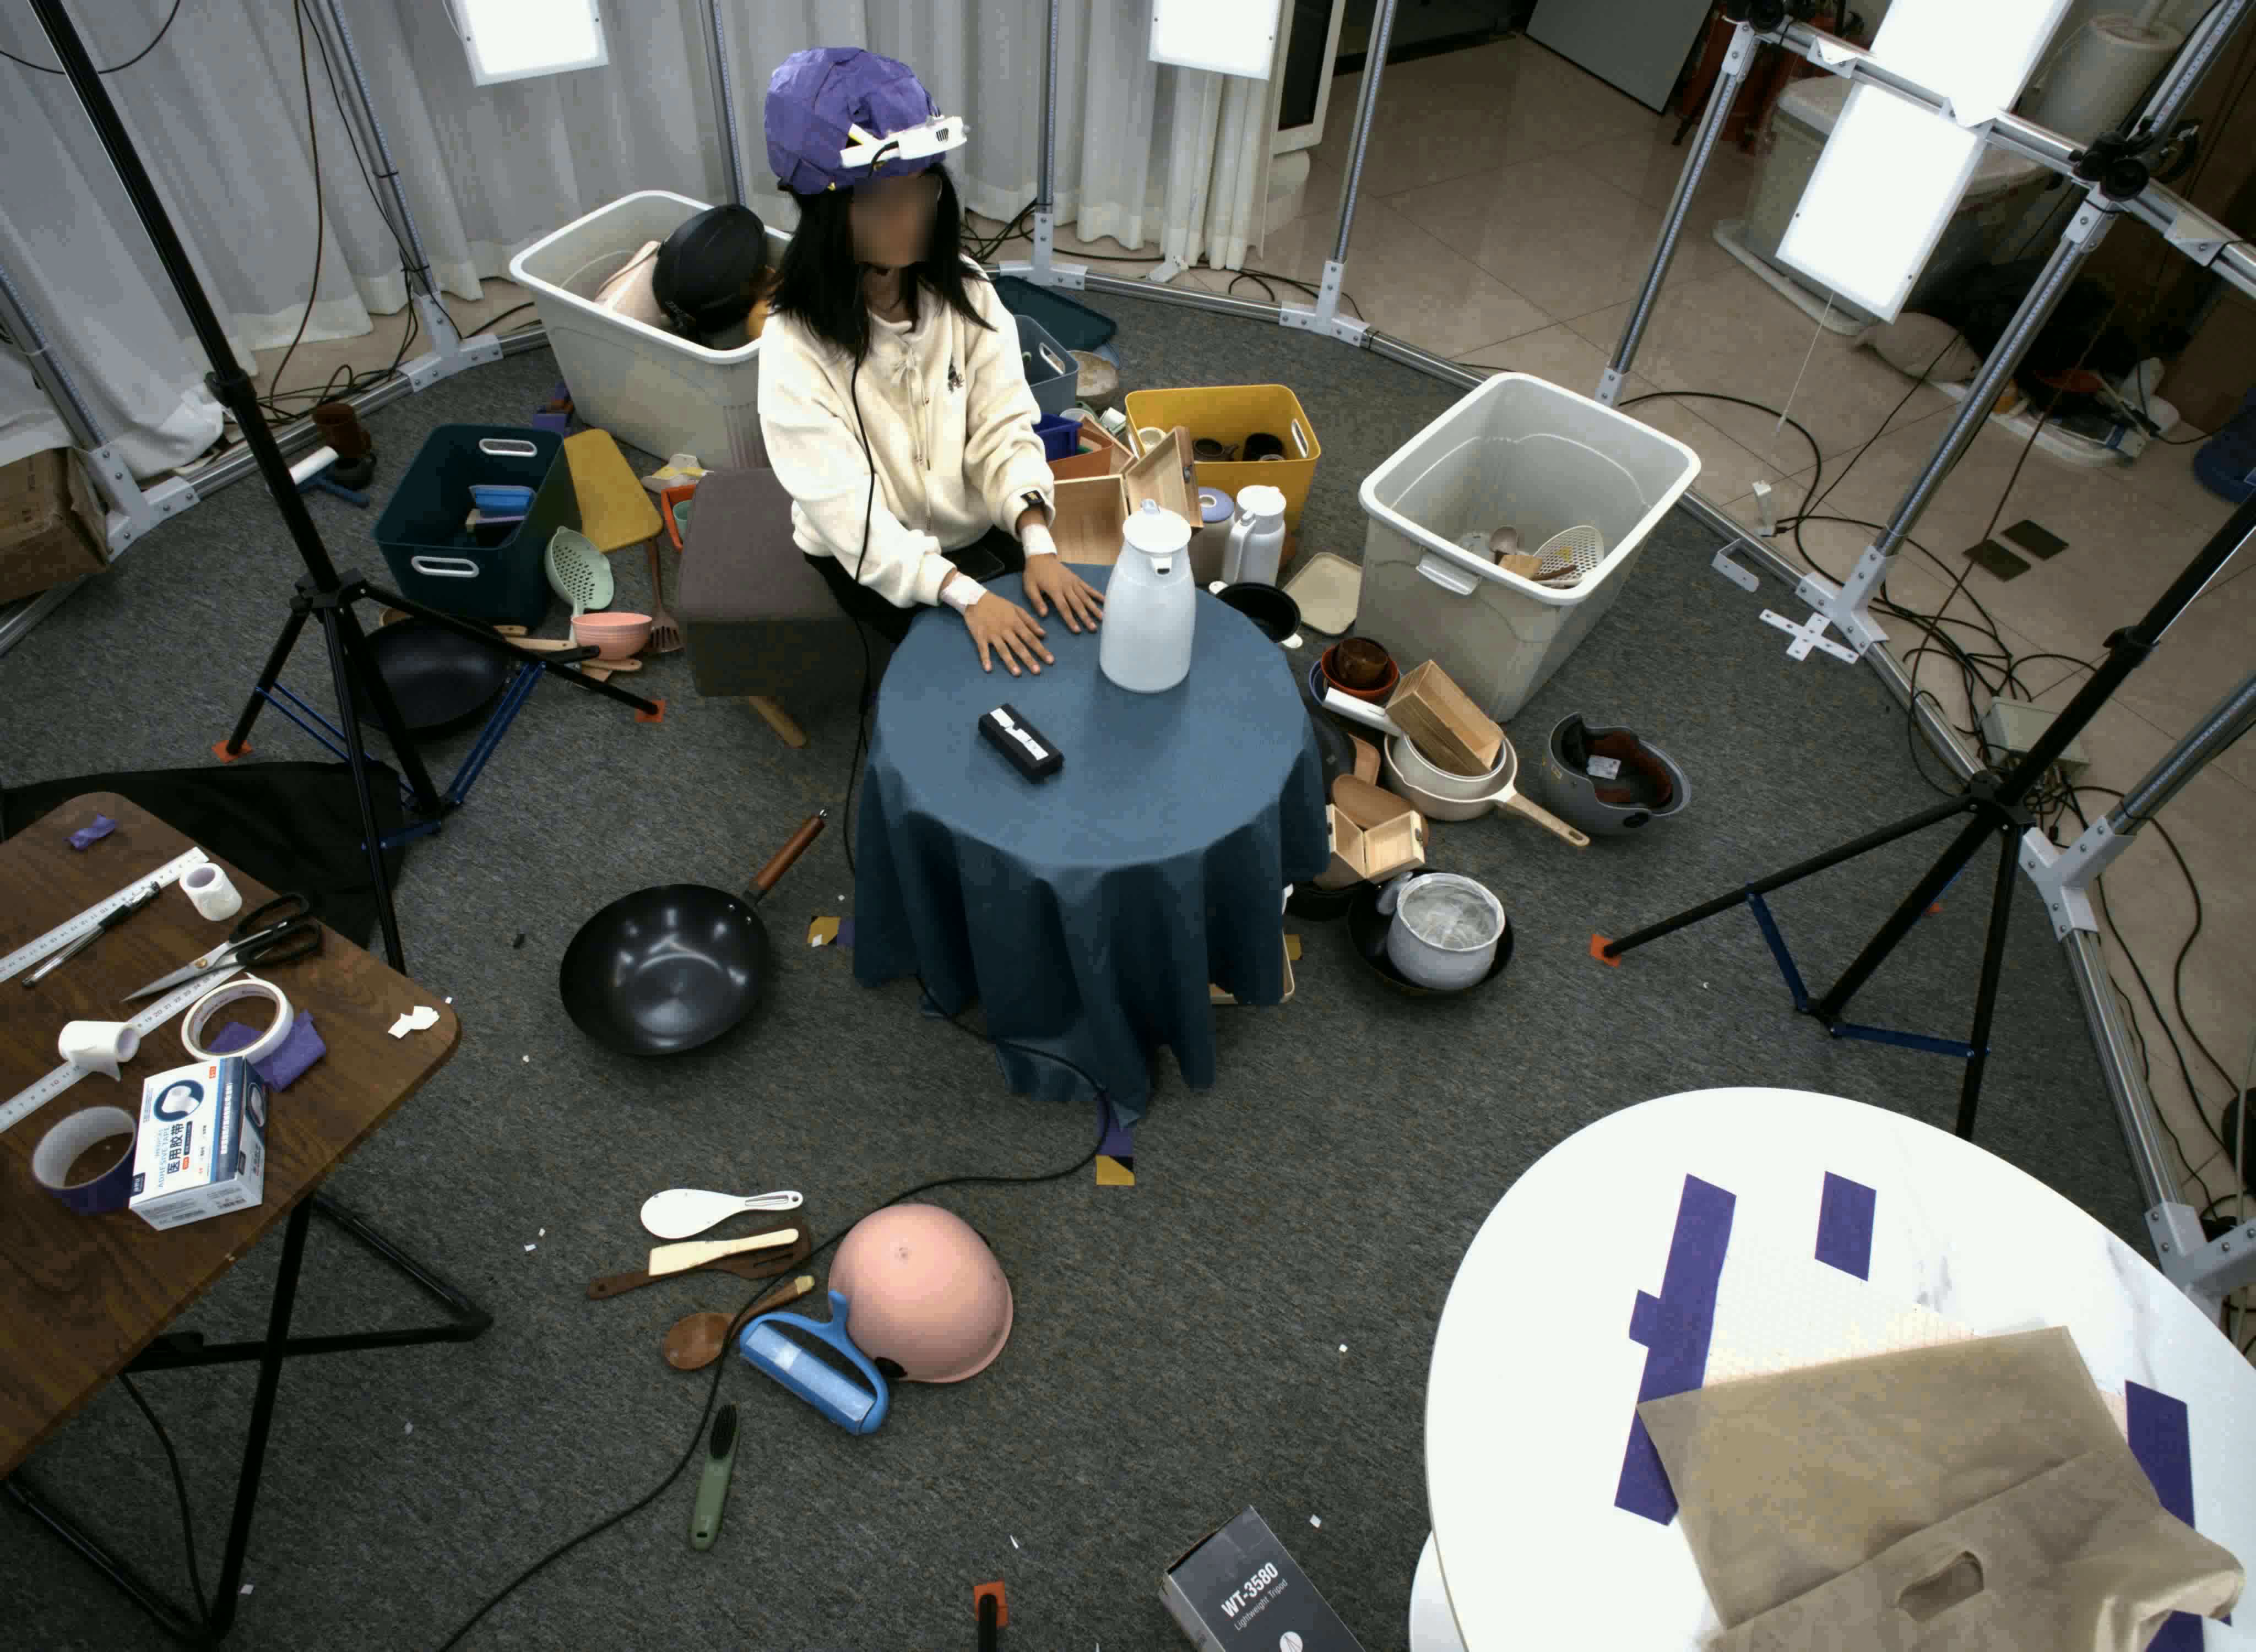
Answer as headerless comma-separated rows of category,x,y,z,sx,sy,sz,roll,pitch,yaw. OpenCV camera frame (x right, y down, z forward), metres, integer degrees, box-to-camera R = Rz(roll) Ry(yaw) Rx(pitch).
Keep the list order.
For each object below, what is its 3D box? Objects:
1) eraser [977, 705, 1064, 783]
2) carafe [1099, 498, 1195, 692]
eraser,-0.146,-0.112,1.739,0.054,0.030,0.127,-30,57,-29
carafe,0.027,-0.334,1.801,0.132,0.242,0.172,-5,49,-8
